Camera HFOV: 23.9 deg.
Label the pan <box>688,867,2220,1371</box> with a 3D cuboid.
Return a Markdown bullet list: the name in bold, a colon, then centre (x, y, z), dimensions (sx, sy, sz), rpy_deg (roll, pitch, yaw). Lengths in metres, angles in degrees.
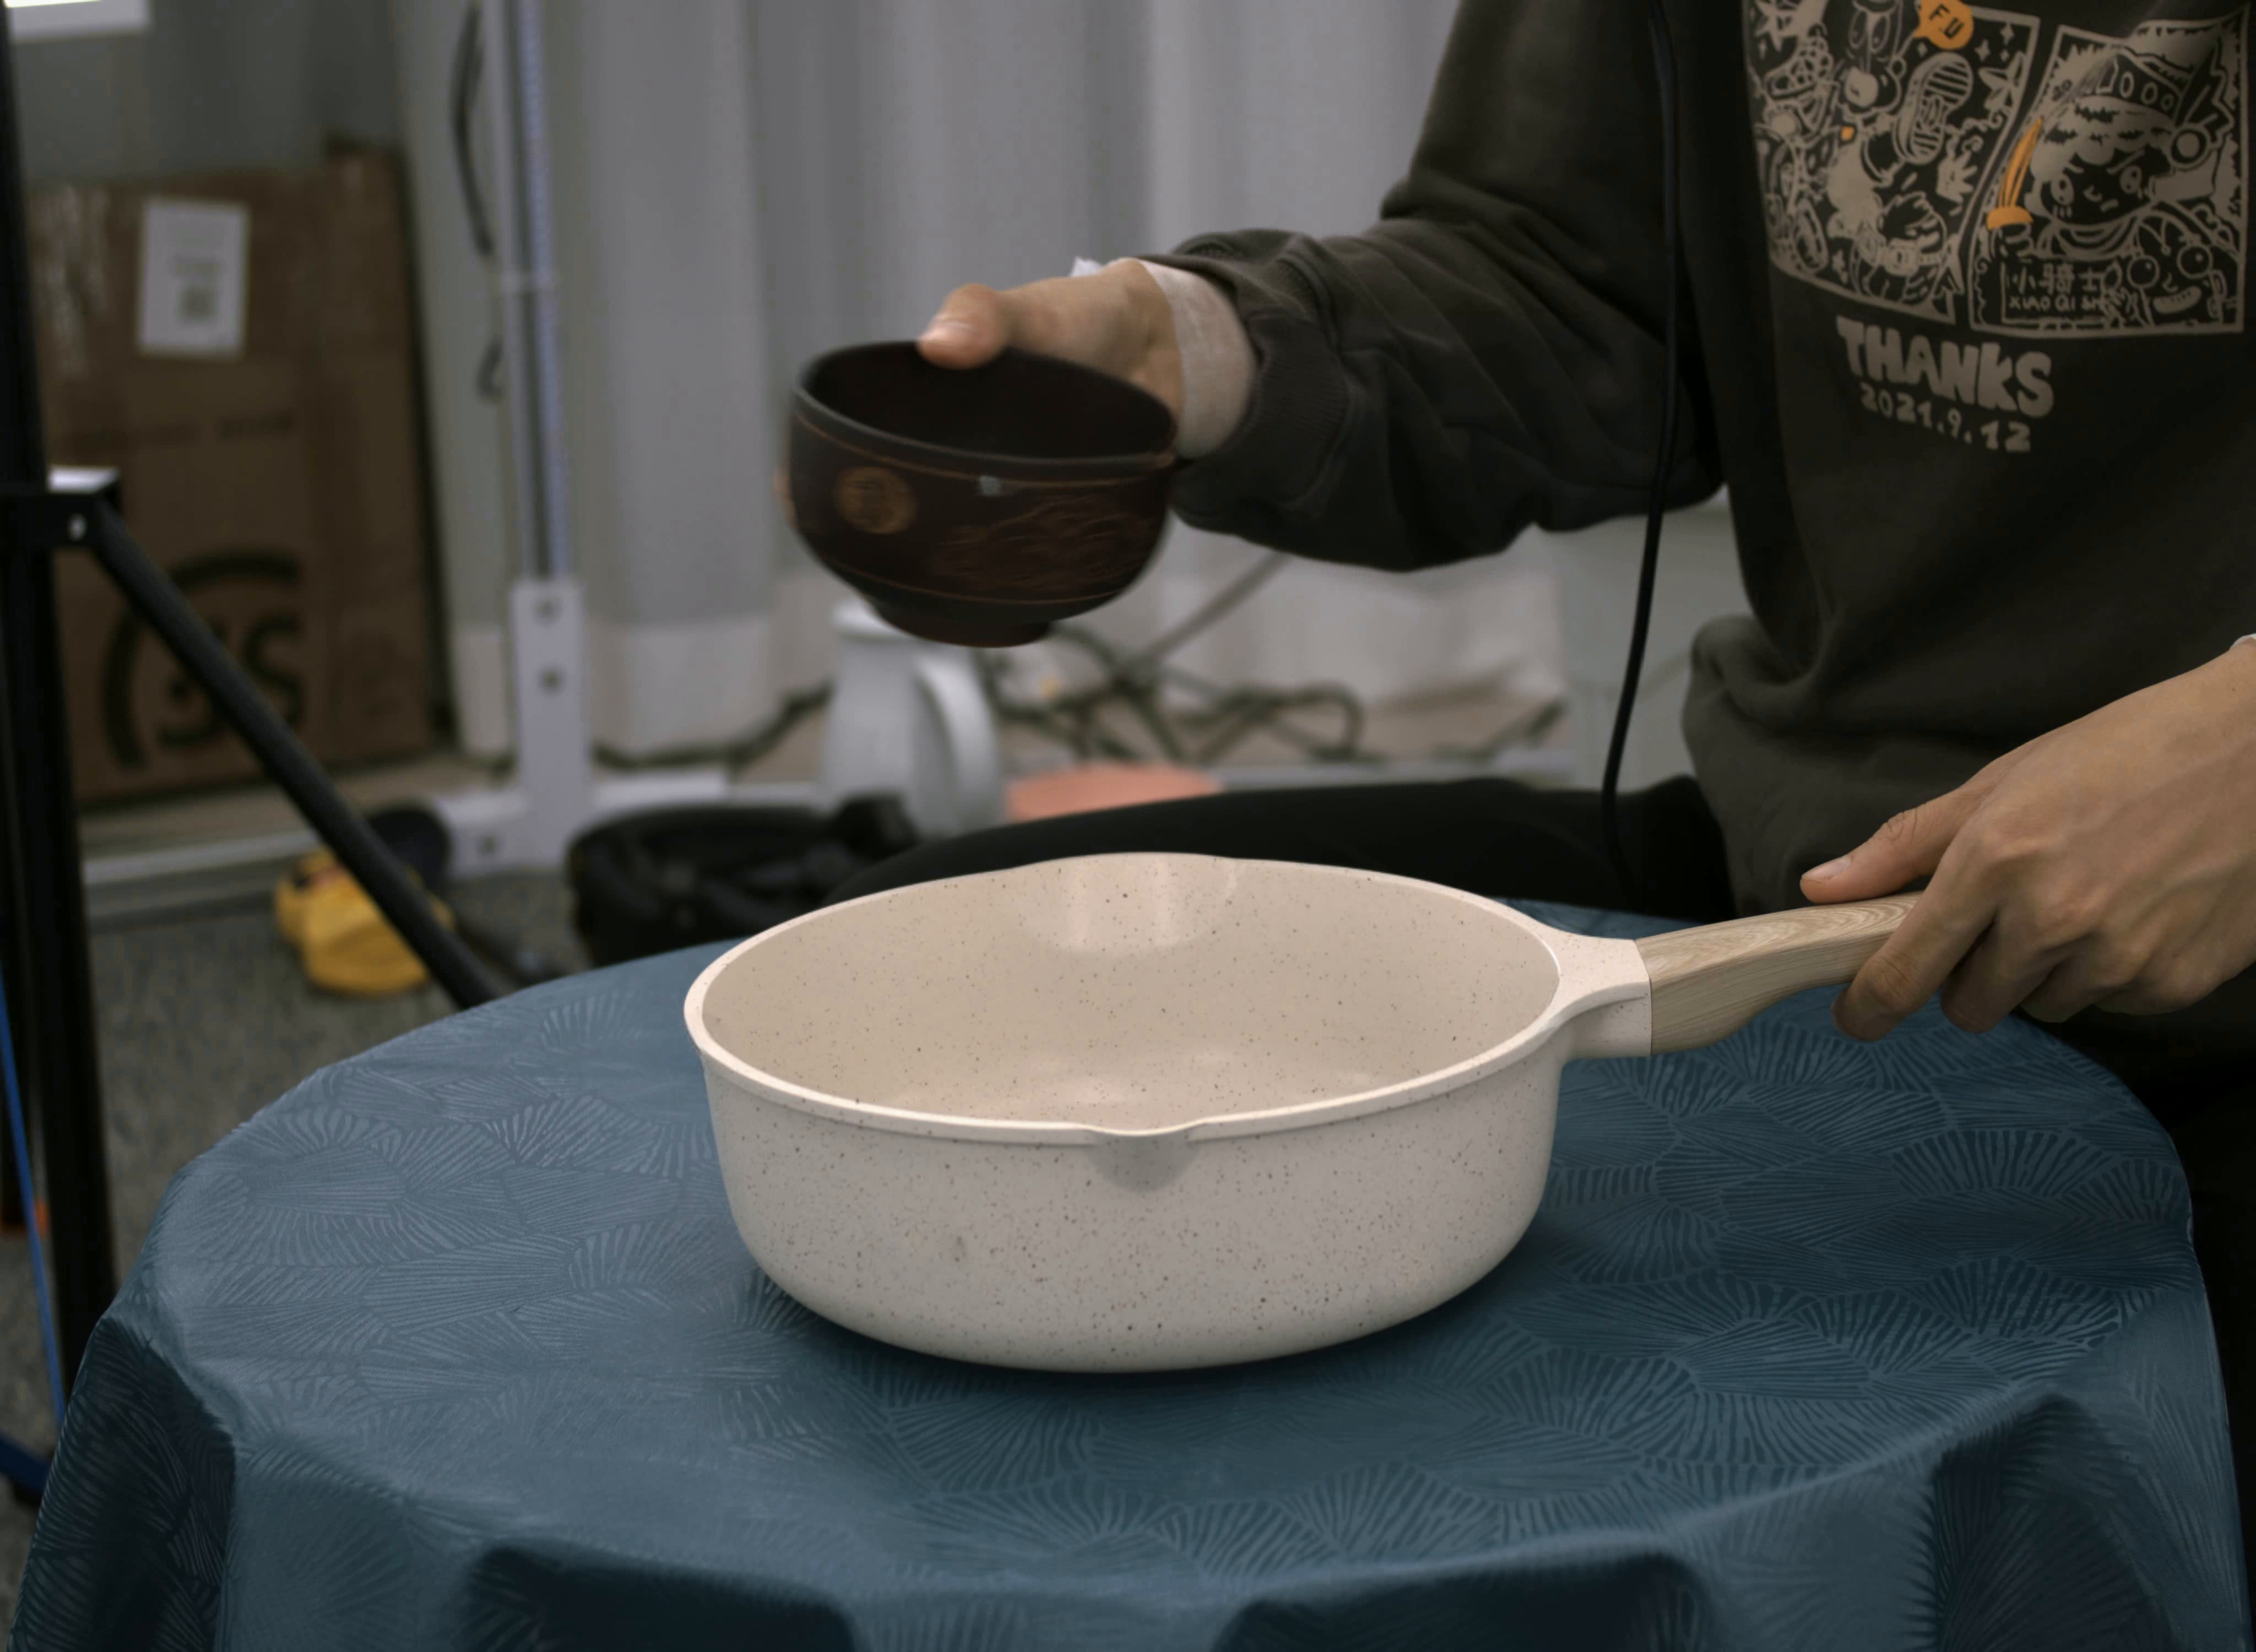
- **pan**: centre (0.094, 0.073, 1.492), dimensions (0.433, 0.102, 0.264), rpy_deg (-2, 14, 0)

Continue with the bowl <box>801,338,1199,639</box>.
- **bowl**: centre (-0.040, -0.097, 1.586), dimensions (0.117, 0.070, 0.119), rpy_deg (5, 18, -3)
